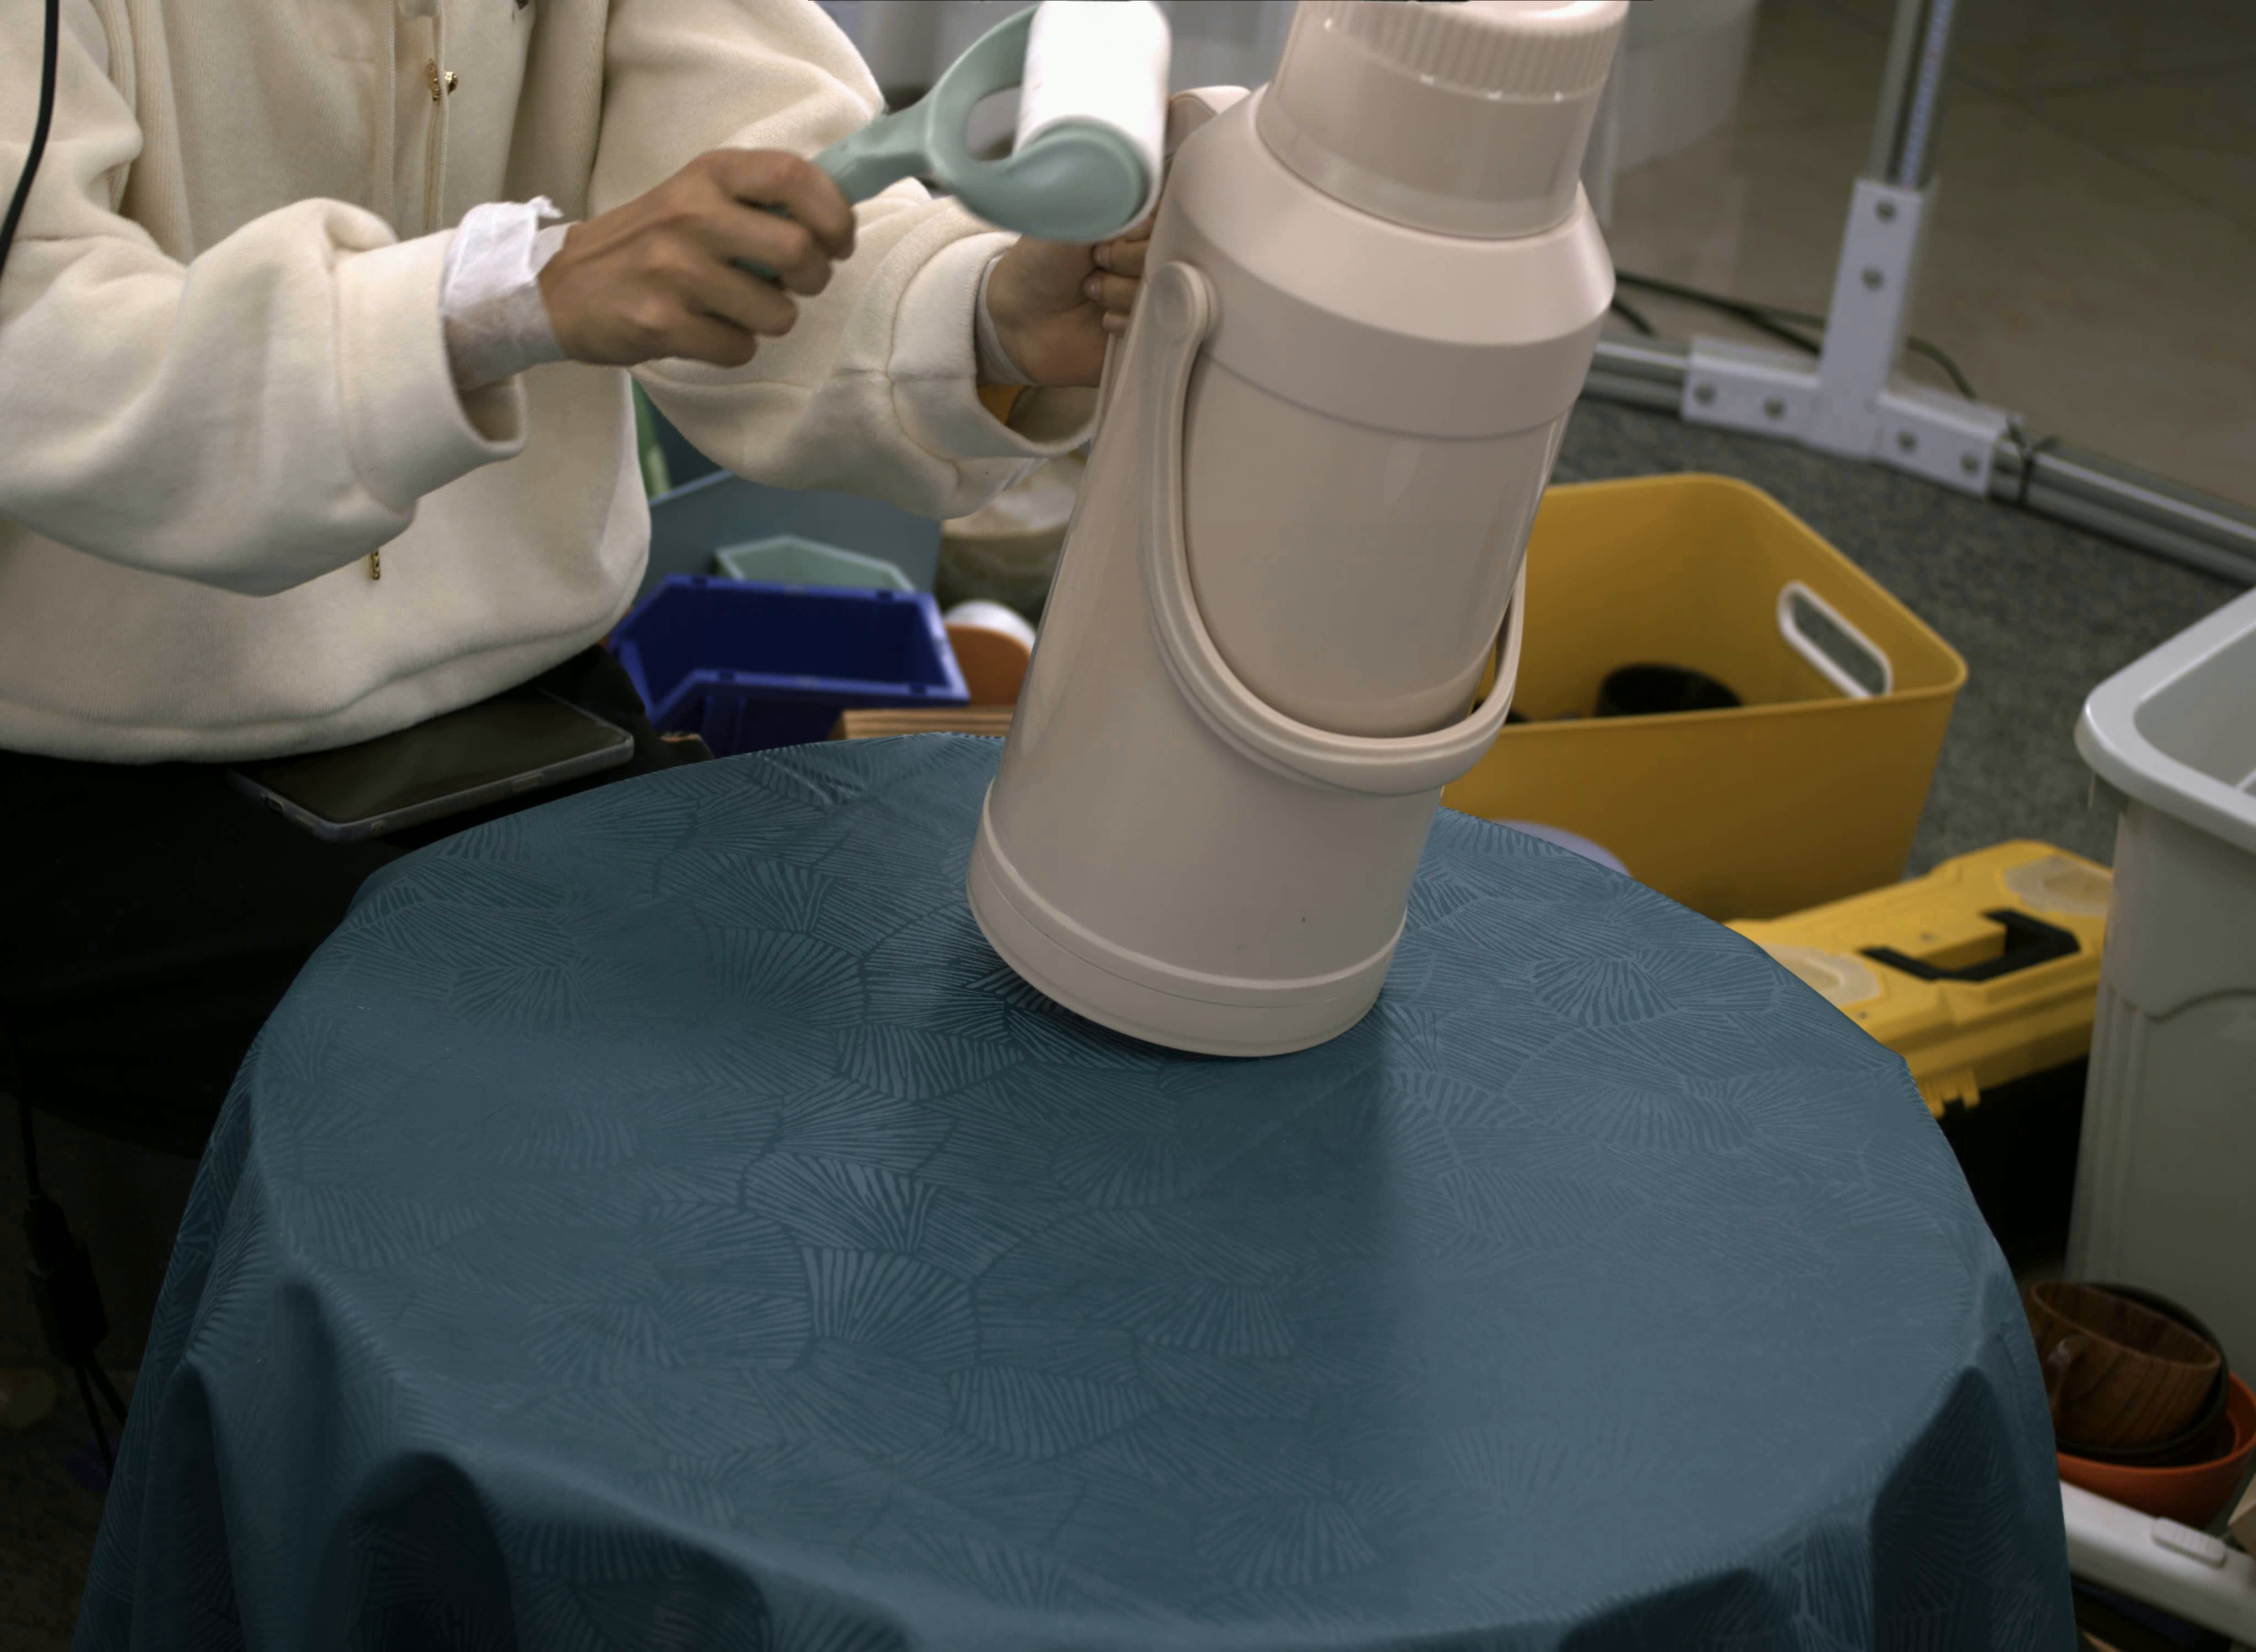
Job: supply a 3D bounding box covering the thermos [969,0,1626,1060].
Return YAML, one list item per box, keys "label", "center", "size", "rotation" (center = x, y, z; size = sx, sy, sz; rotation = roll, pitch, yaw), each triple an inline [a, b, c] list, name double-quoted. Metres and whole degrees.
- label: "thermos"
  center: [0.059, -0.132, 1.854]
  size: [0.174, 0.405, 0.209]
  rotation: [-9, 40, -35]

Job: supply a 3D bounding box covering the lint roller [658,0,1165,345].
- label: "lint roller"
  center: [-0.077, -0.219, 1.778]
  size: [0.197, 0.048, 0.117]
  rotation: [-21, 33, 17]
